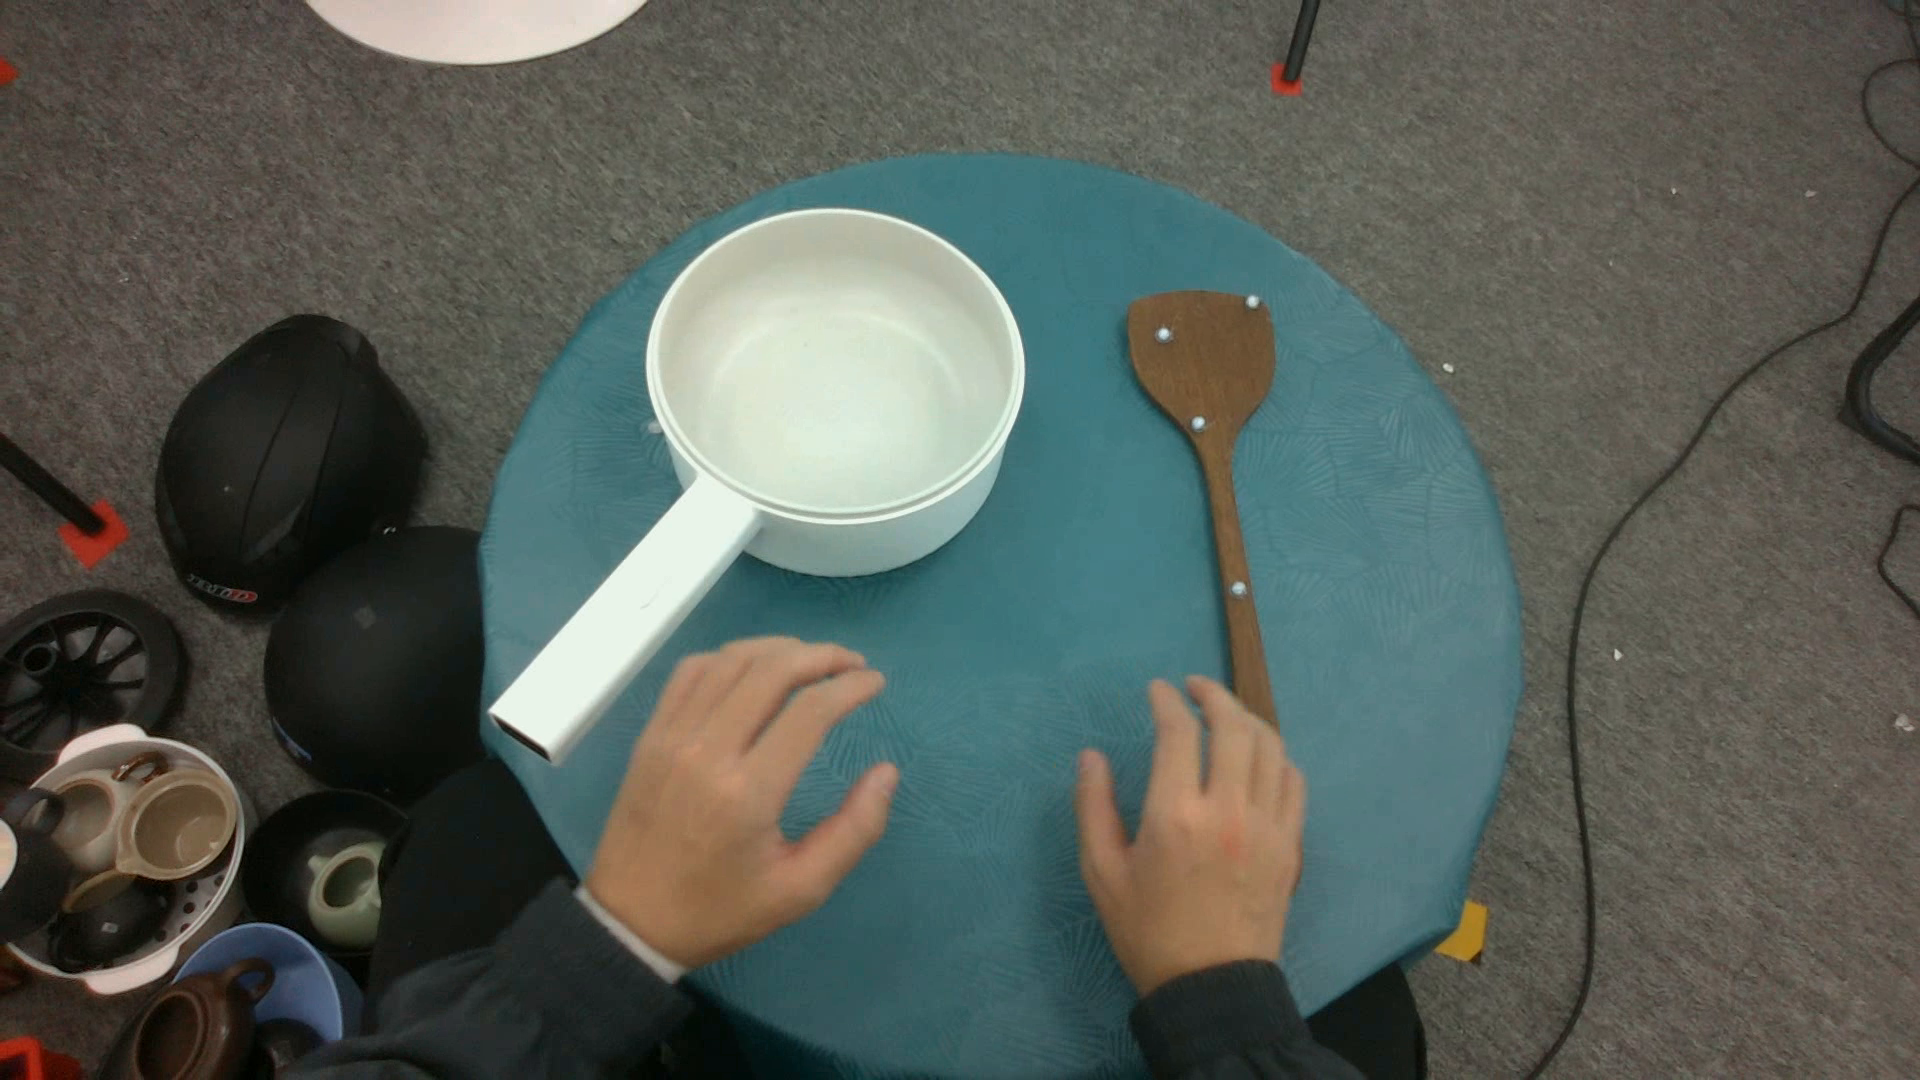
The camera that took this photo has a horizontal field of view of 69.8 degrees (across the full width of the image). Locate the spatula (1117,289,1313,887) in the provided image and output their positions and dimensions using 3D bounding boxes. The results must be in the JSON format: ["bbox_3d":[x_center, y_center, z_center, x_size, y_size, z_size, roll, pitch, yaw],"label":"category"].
[{"bbox_3d":[0.160,0.010,0.811,0.096,0.016,0.387,-2,63,-5],"label":"spatula"}]

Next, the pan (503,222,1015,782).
[{"bbox_3d":[-0.112,-0.015,0.759,0.201,0.101,0.356,29,66,10],"label":"pan"}]
